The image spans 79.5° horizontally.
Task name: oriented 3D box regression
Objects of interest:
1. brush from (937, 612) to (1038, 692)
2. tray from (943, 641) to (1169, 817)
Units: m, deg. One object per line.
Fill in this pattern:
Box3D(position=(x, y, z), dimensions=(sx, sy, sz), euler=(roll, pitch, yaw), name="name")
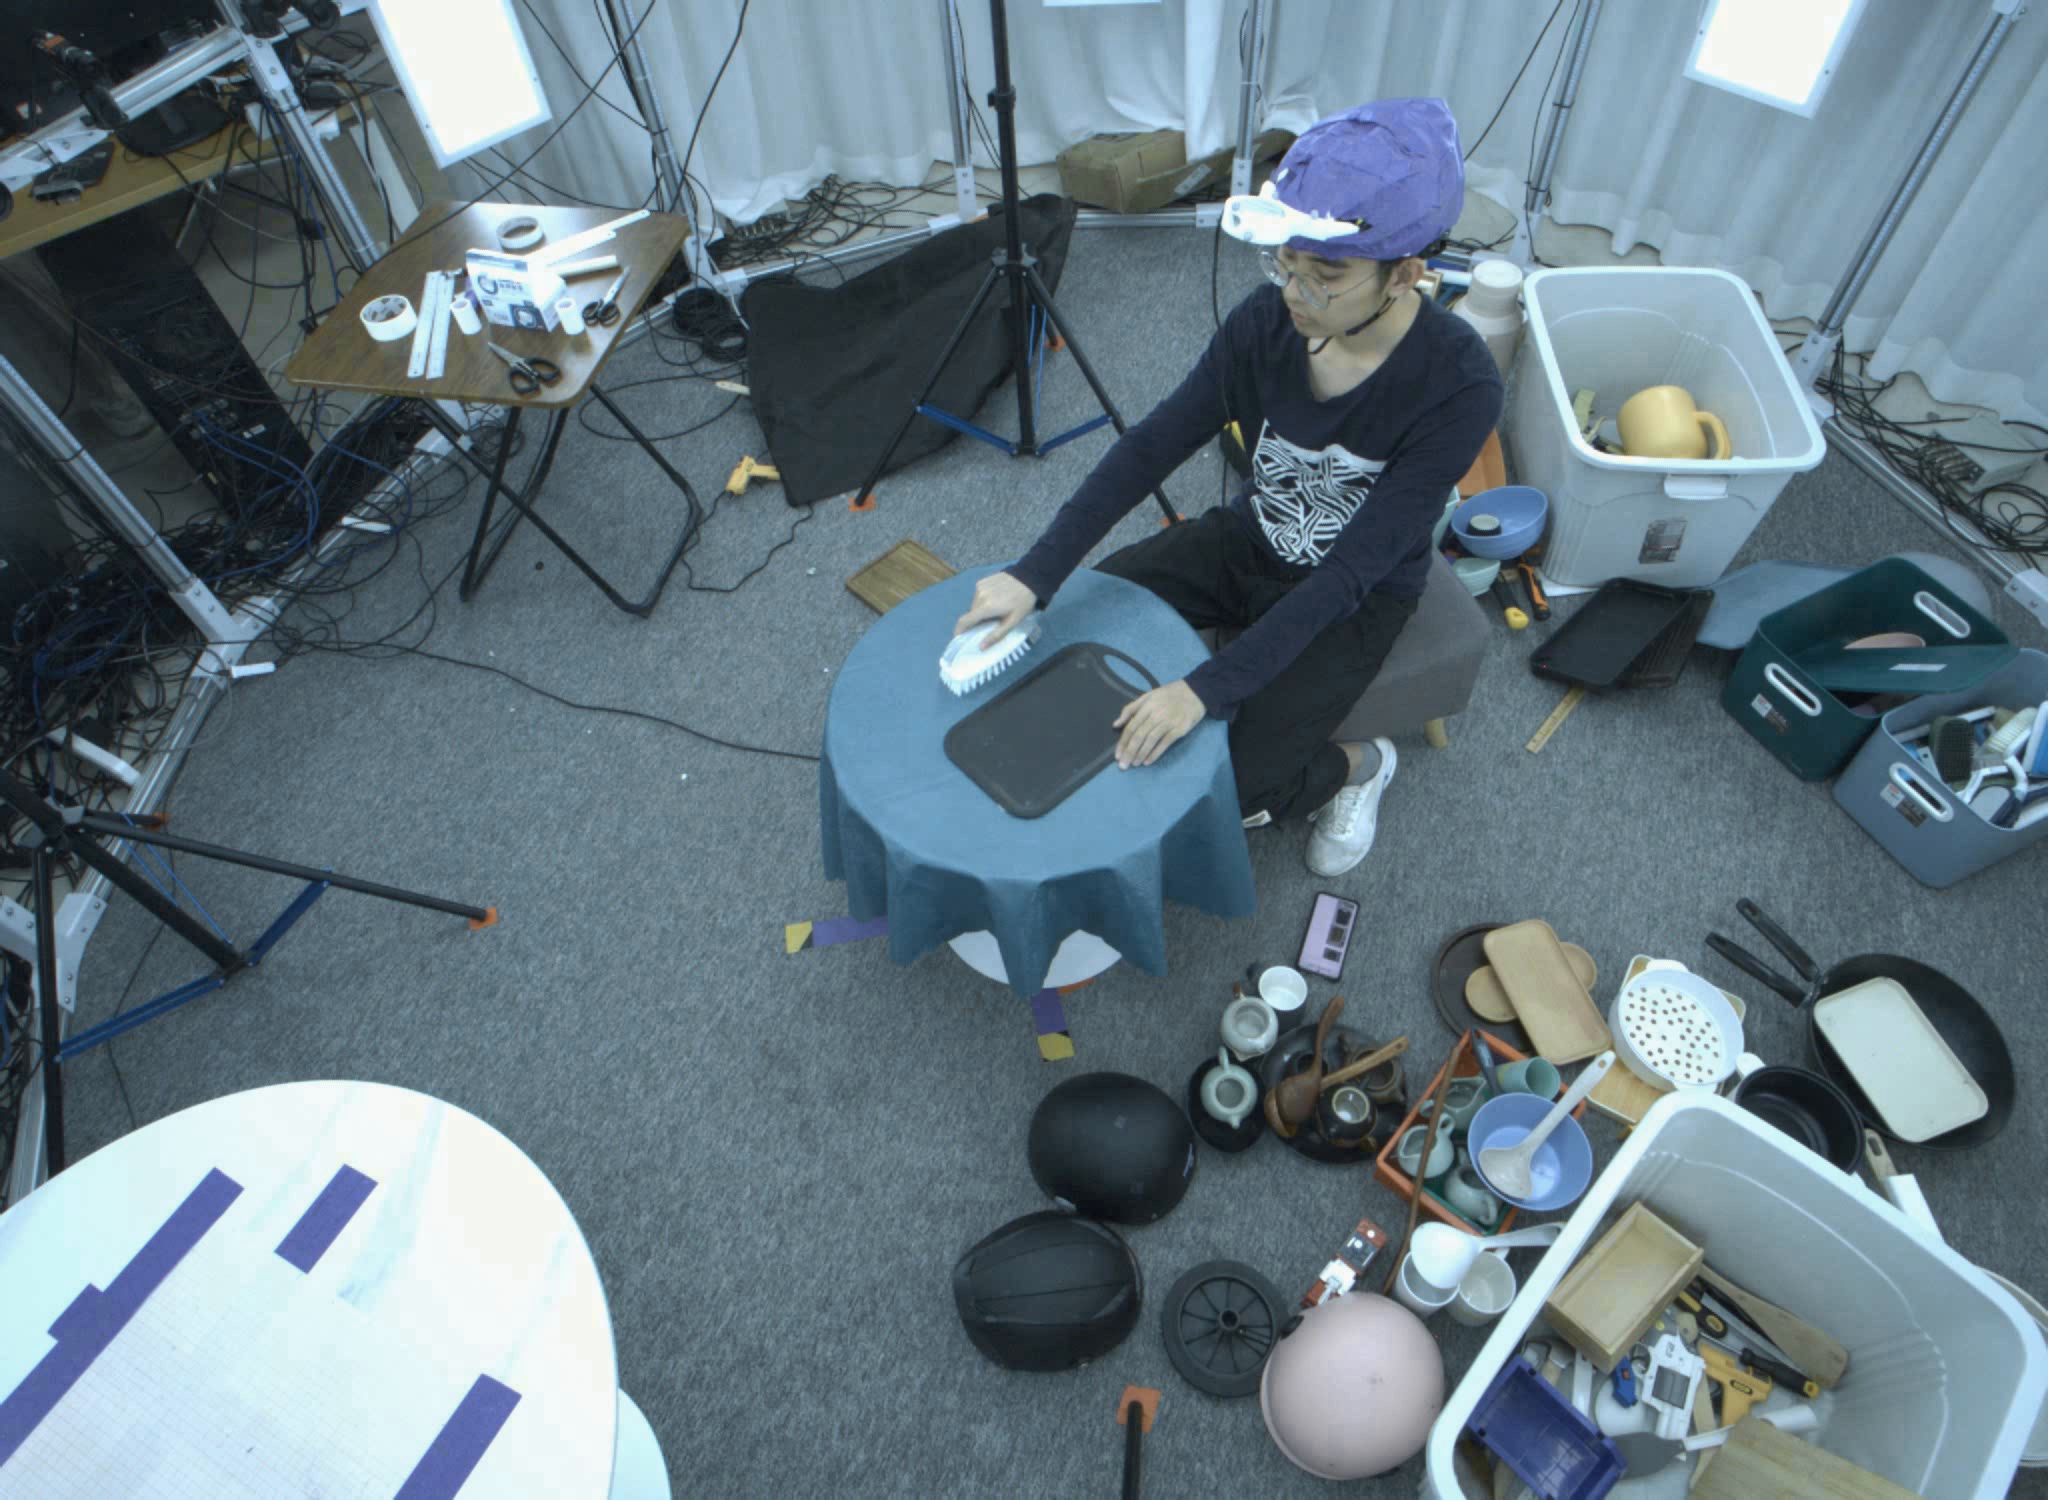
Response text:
Box3D(position=(-0.050, -0.166, 1.843), dimensions=(0.177, 0.095, 0.060), euler=(-30, 59, -20), name="brush")
Box3D(position=(0.053, -0.043, 1.804), dimensions=(0.328, 0.010, 0.207), euler=(-36, 61, -22), name="tray")
